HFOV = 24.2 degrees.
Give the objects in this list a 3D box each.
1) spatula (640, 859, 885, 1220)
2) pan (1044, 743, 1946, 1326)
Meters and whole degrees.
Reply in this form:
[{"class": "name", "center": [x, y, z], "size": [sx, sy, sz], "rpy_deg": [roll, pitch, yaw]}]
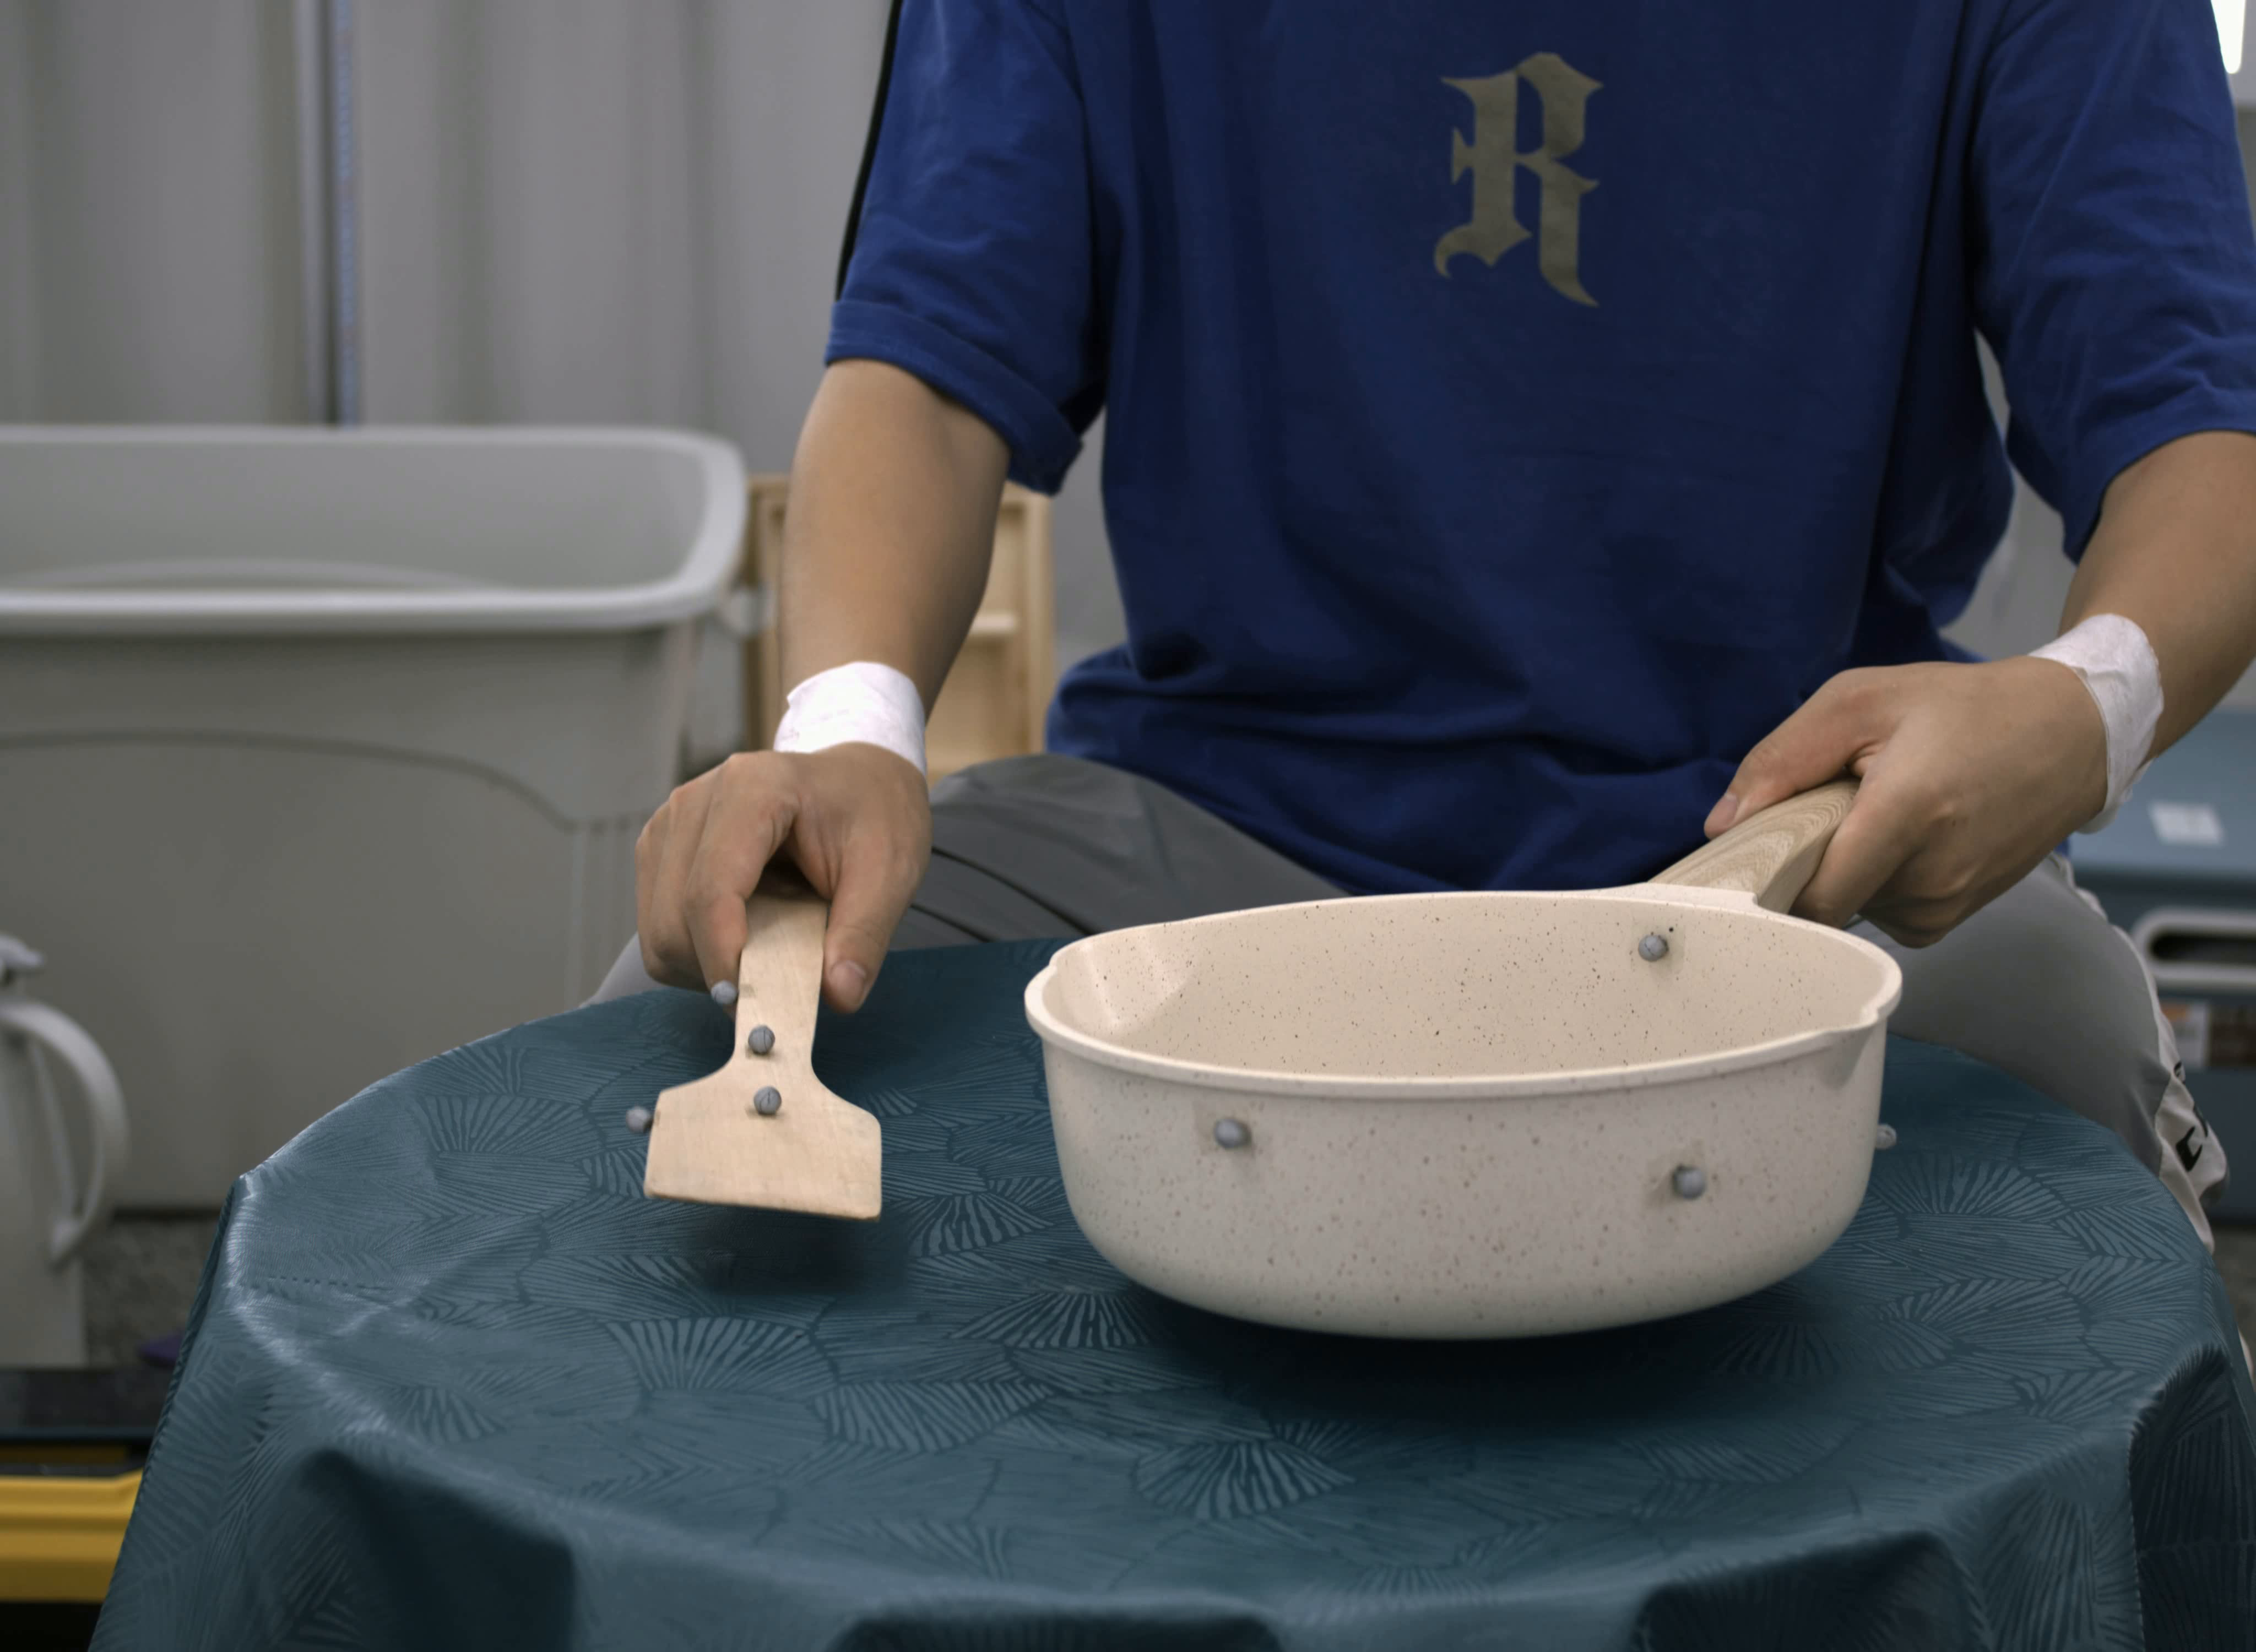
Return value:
[{"class": "spatula", "center": [-0.111, 0.063, 1.660], "size": [0.072, 0.011, 0.291], "rpy_deg": [7, 19, -4]}, {"class": "pan", "center": [0.151, 0.058, 1.585], "size": [0.260, 0.102, 0.437], "rpy_deg": [3, 11, 32]}]
